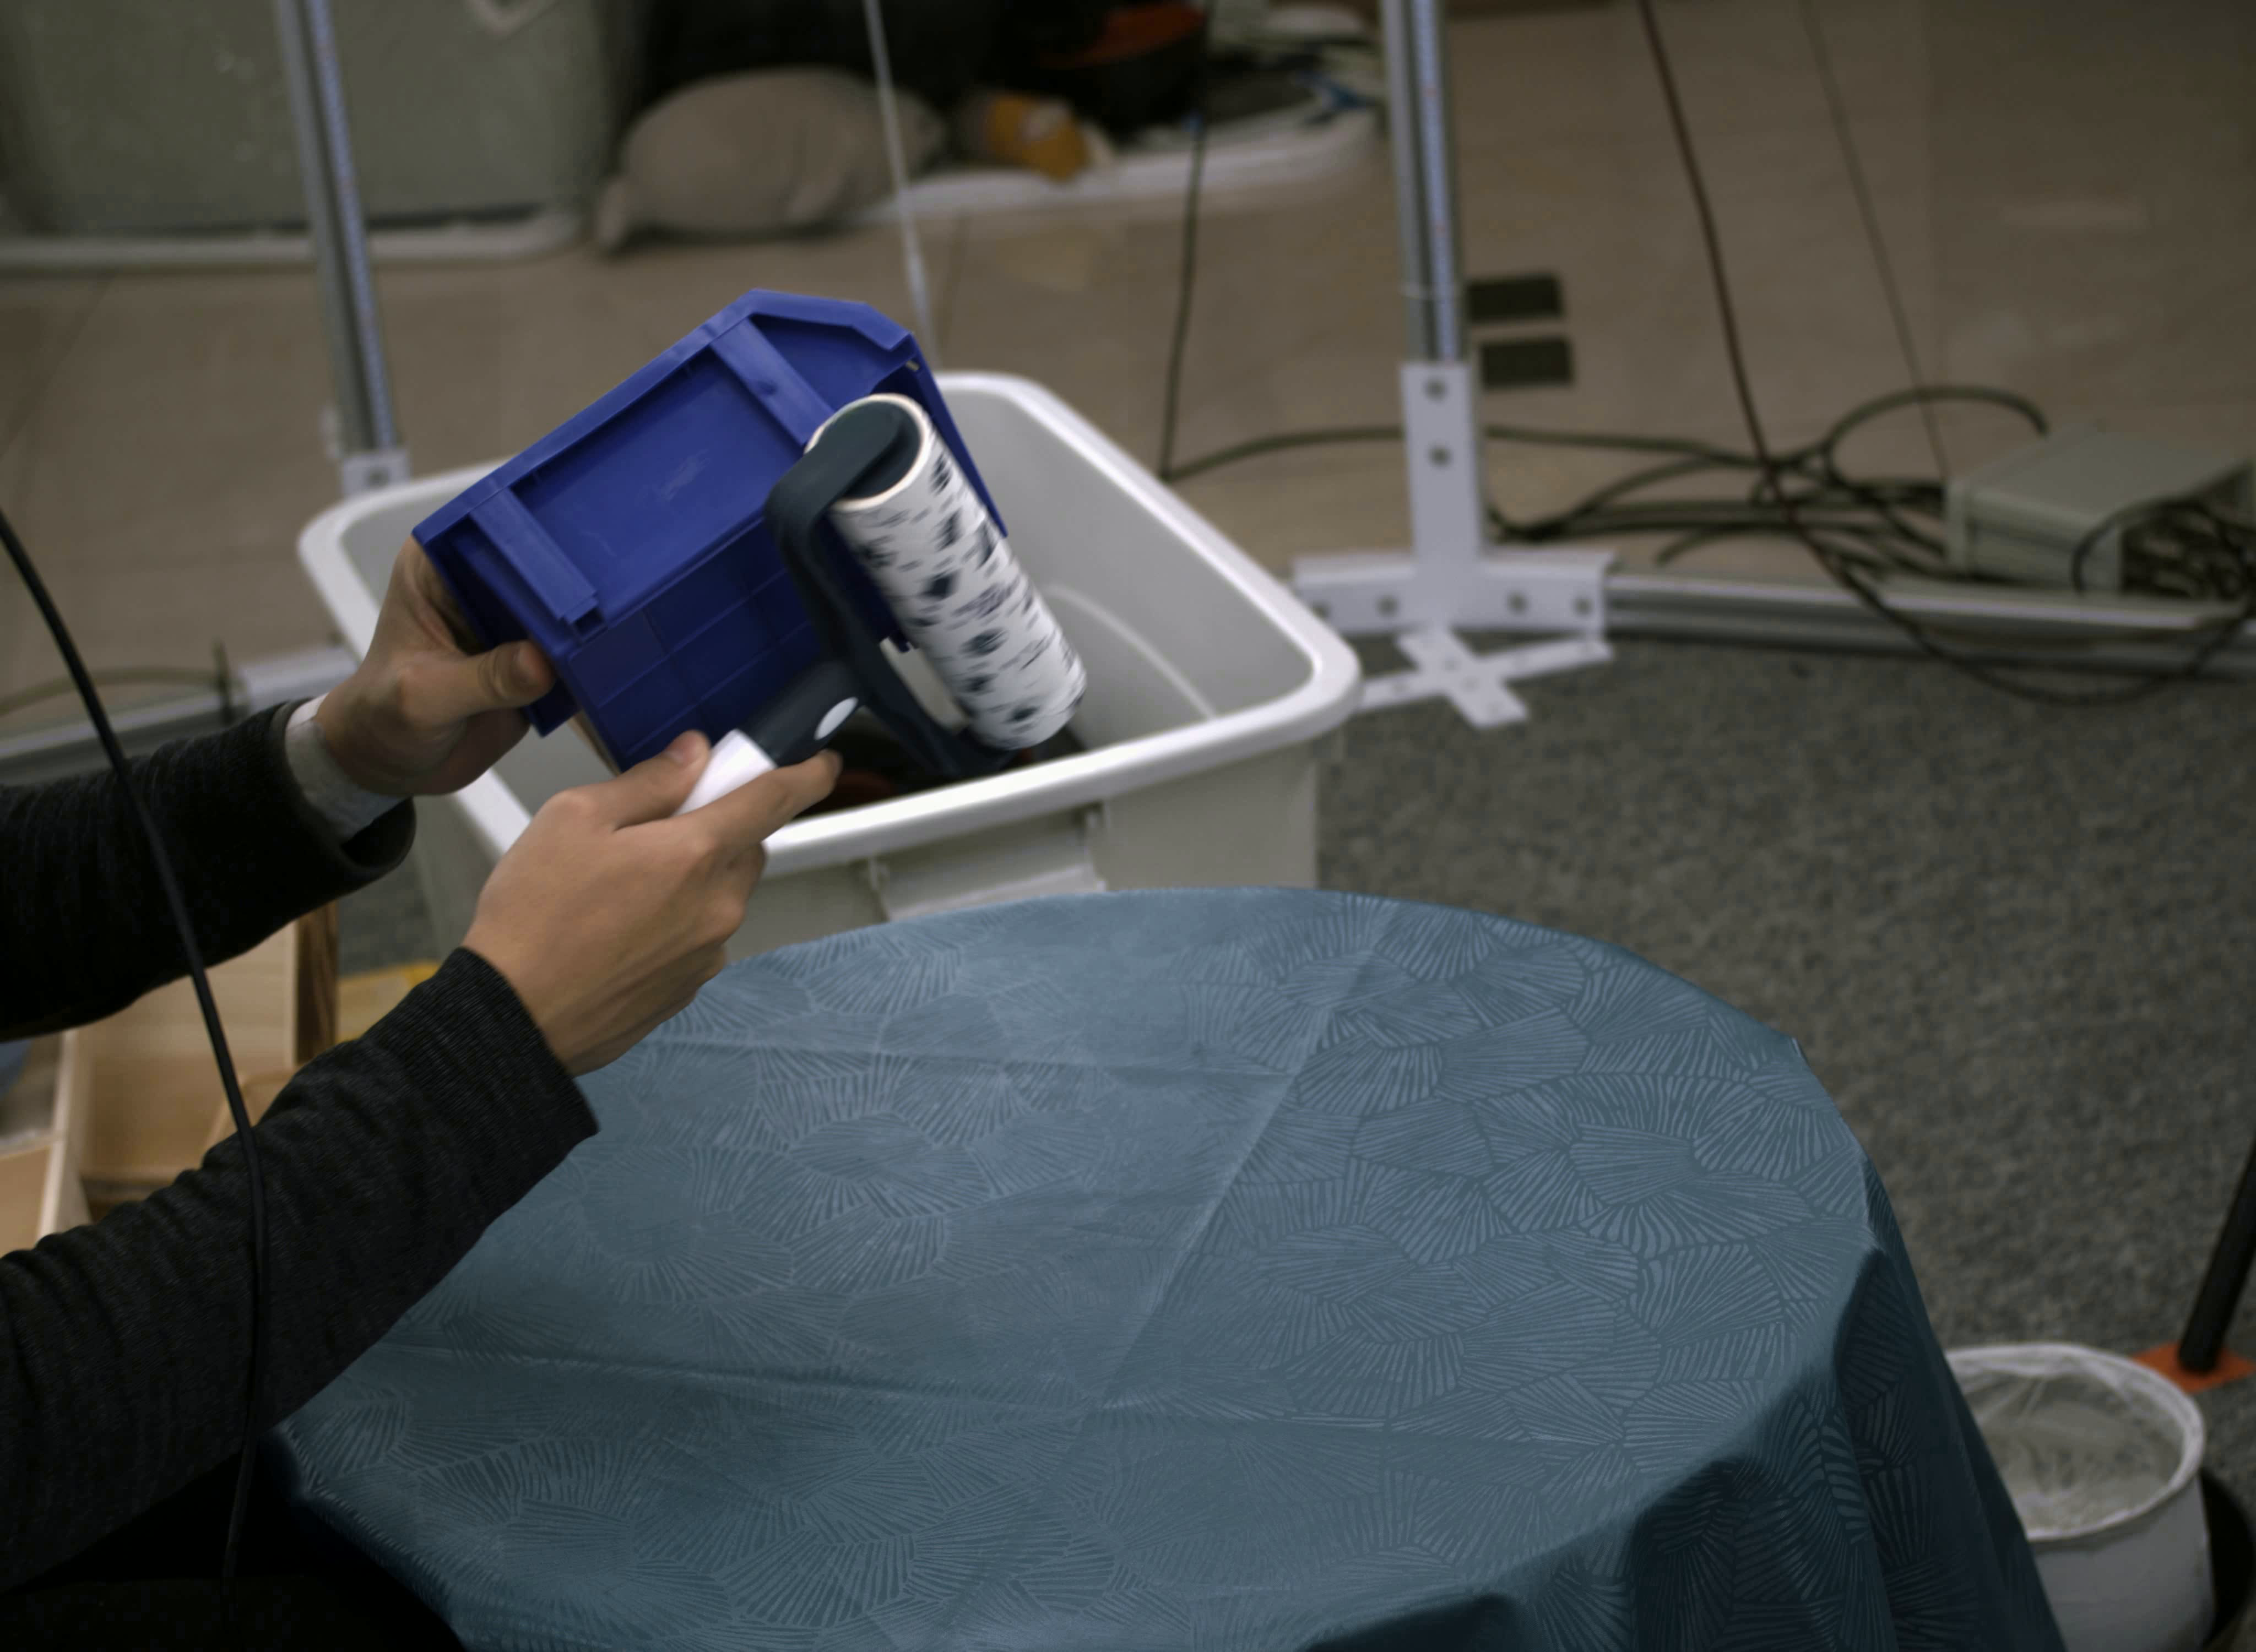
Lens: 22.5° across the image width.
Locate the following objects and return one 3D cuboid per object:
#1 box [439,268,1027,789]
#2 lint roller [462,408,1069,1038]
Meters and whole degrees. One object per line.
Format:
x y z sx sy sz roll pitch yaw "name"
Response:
-0.134 -0.107 2.021 0.179 0.126 0.081 -39 53 -8 "box"
-0.135 -0.014 1.983 0.246 0.179 0.050 -47 55 -8 "lint roller"
